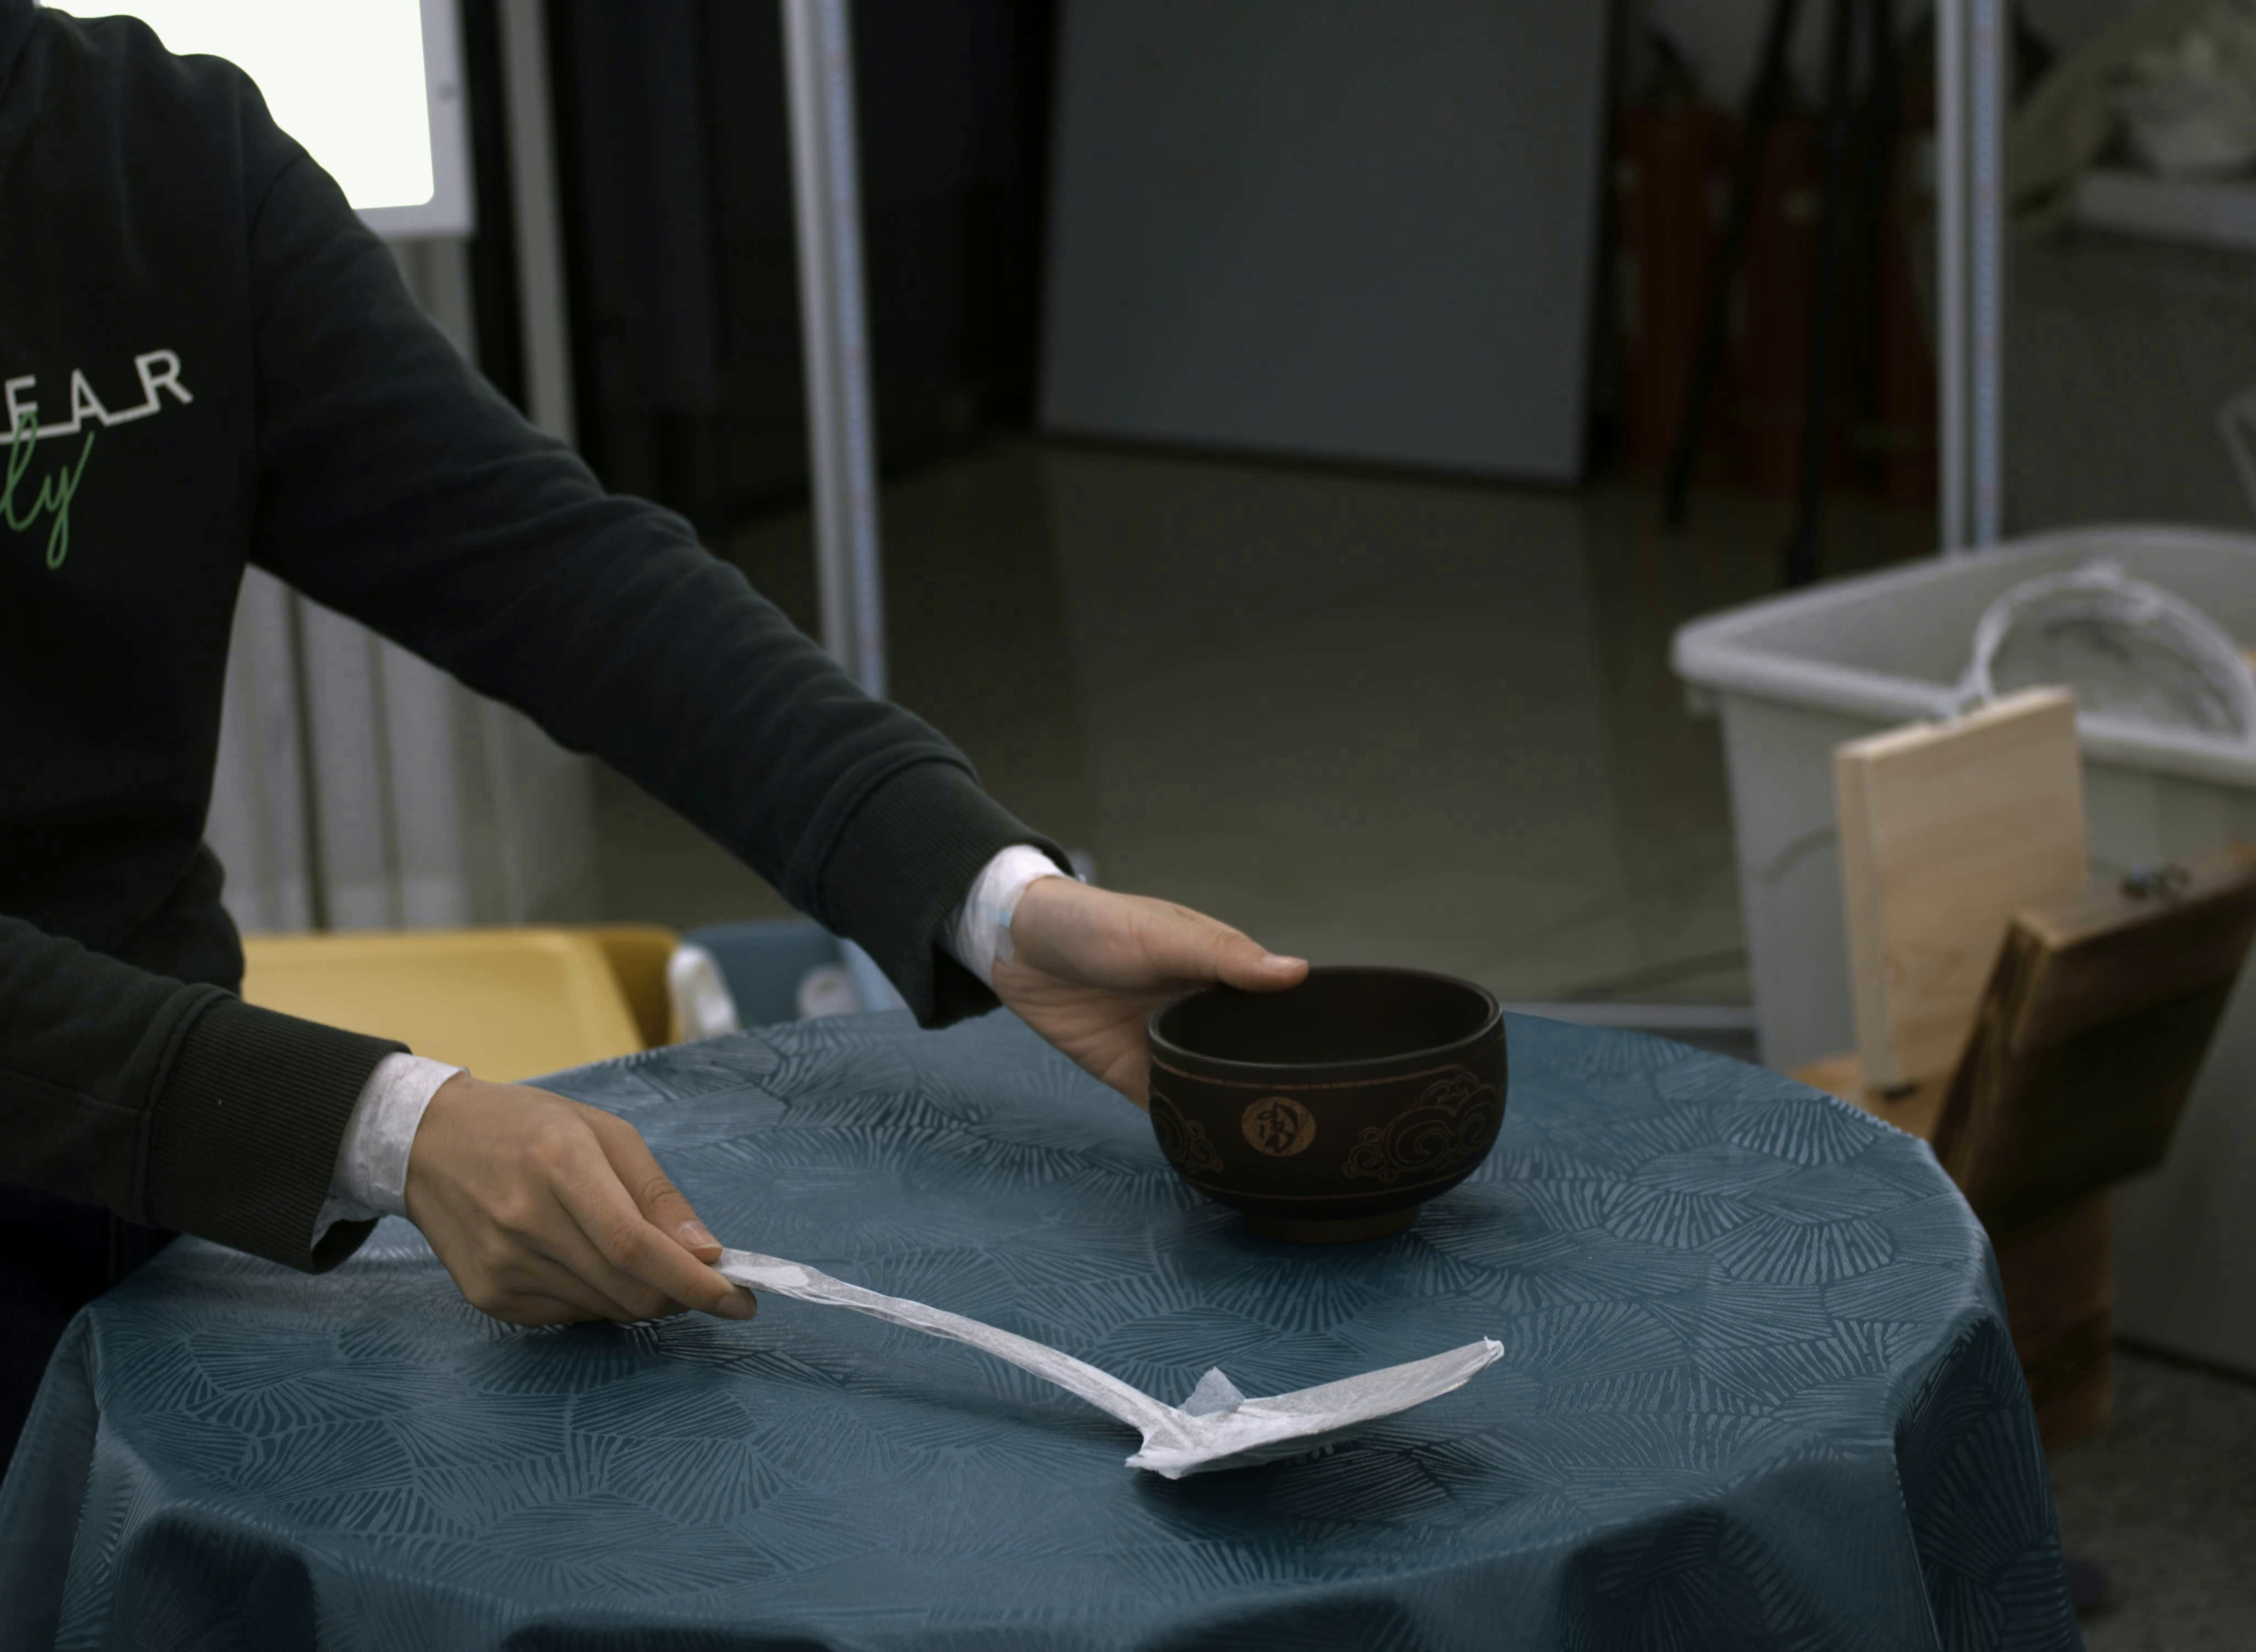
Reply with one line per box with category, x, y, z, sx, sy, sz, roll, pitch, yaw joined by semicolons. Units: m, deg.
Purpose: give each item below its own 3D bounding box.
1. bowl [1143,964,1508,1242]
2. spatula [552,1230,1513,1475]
bowl;0.064;0.092;1.723;0.116;0.070;0.118;-3;12;0
spatula;-0.049;0.144;1.593;0.368;0.045;0.097;12;21;39
